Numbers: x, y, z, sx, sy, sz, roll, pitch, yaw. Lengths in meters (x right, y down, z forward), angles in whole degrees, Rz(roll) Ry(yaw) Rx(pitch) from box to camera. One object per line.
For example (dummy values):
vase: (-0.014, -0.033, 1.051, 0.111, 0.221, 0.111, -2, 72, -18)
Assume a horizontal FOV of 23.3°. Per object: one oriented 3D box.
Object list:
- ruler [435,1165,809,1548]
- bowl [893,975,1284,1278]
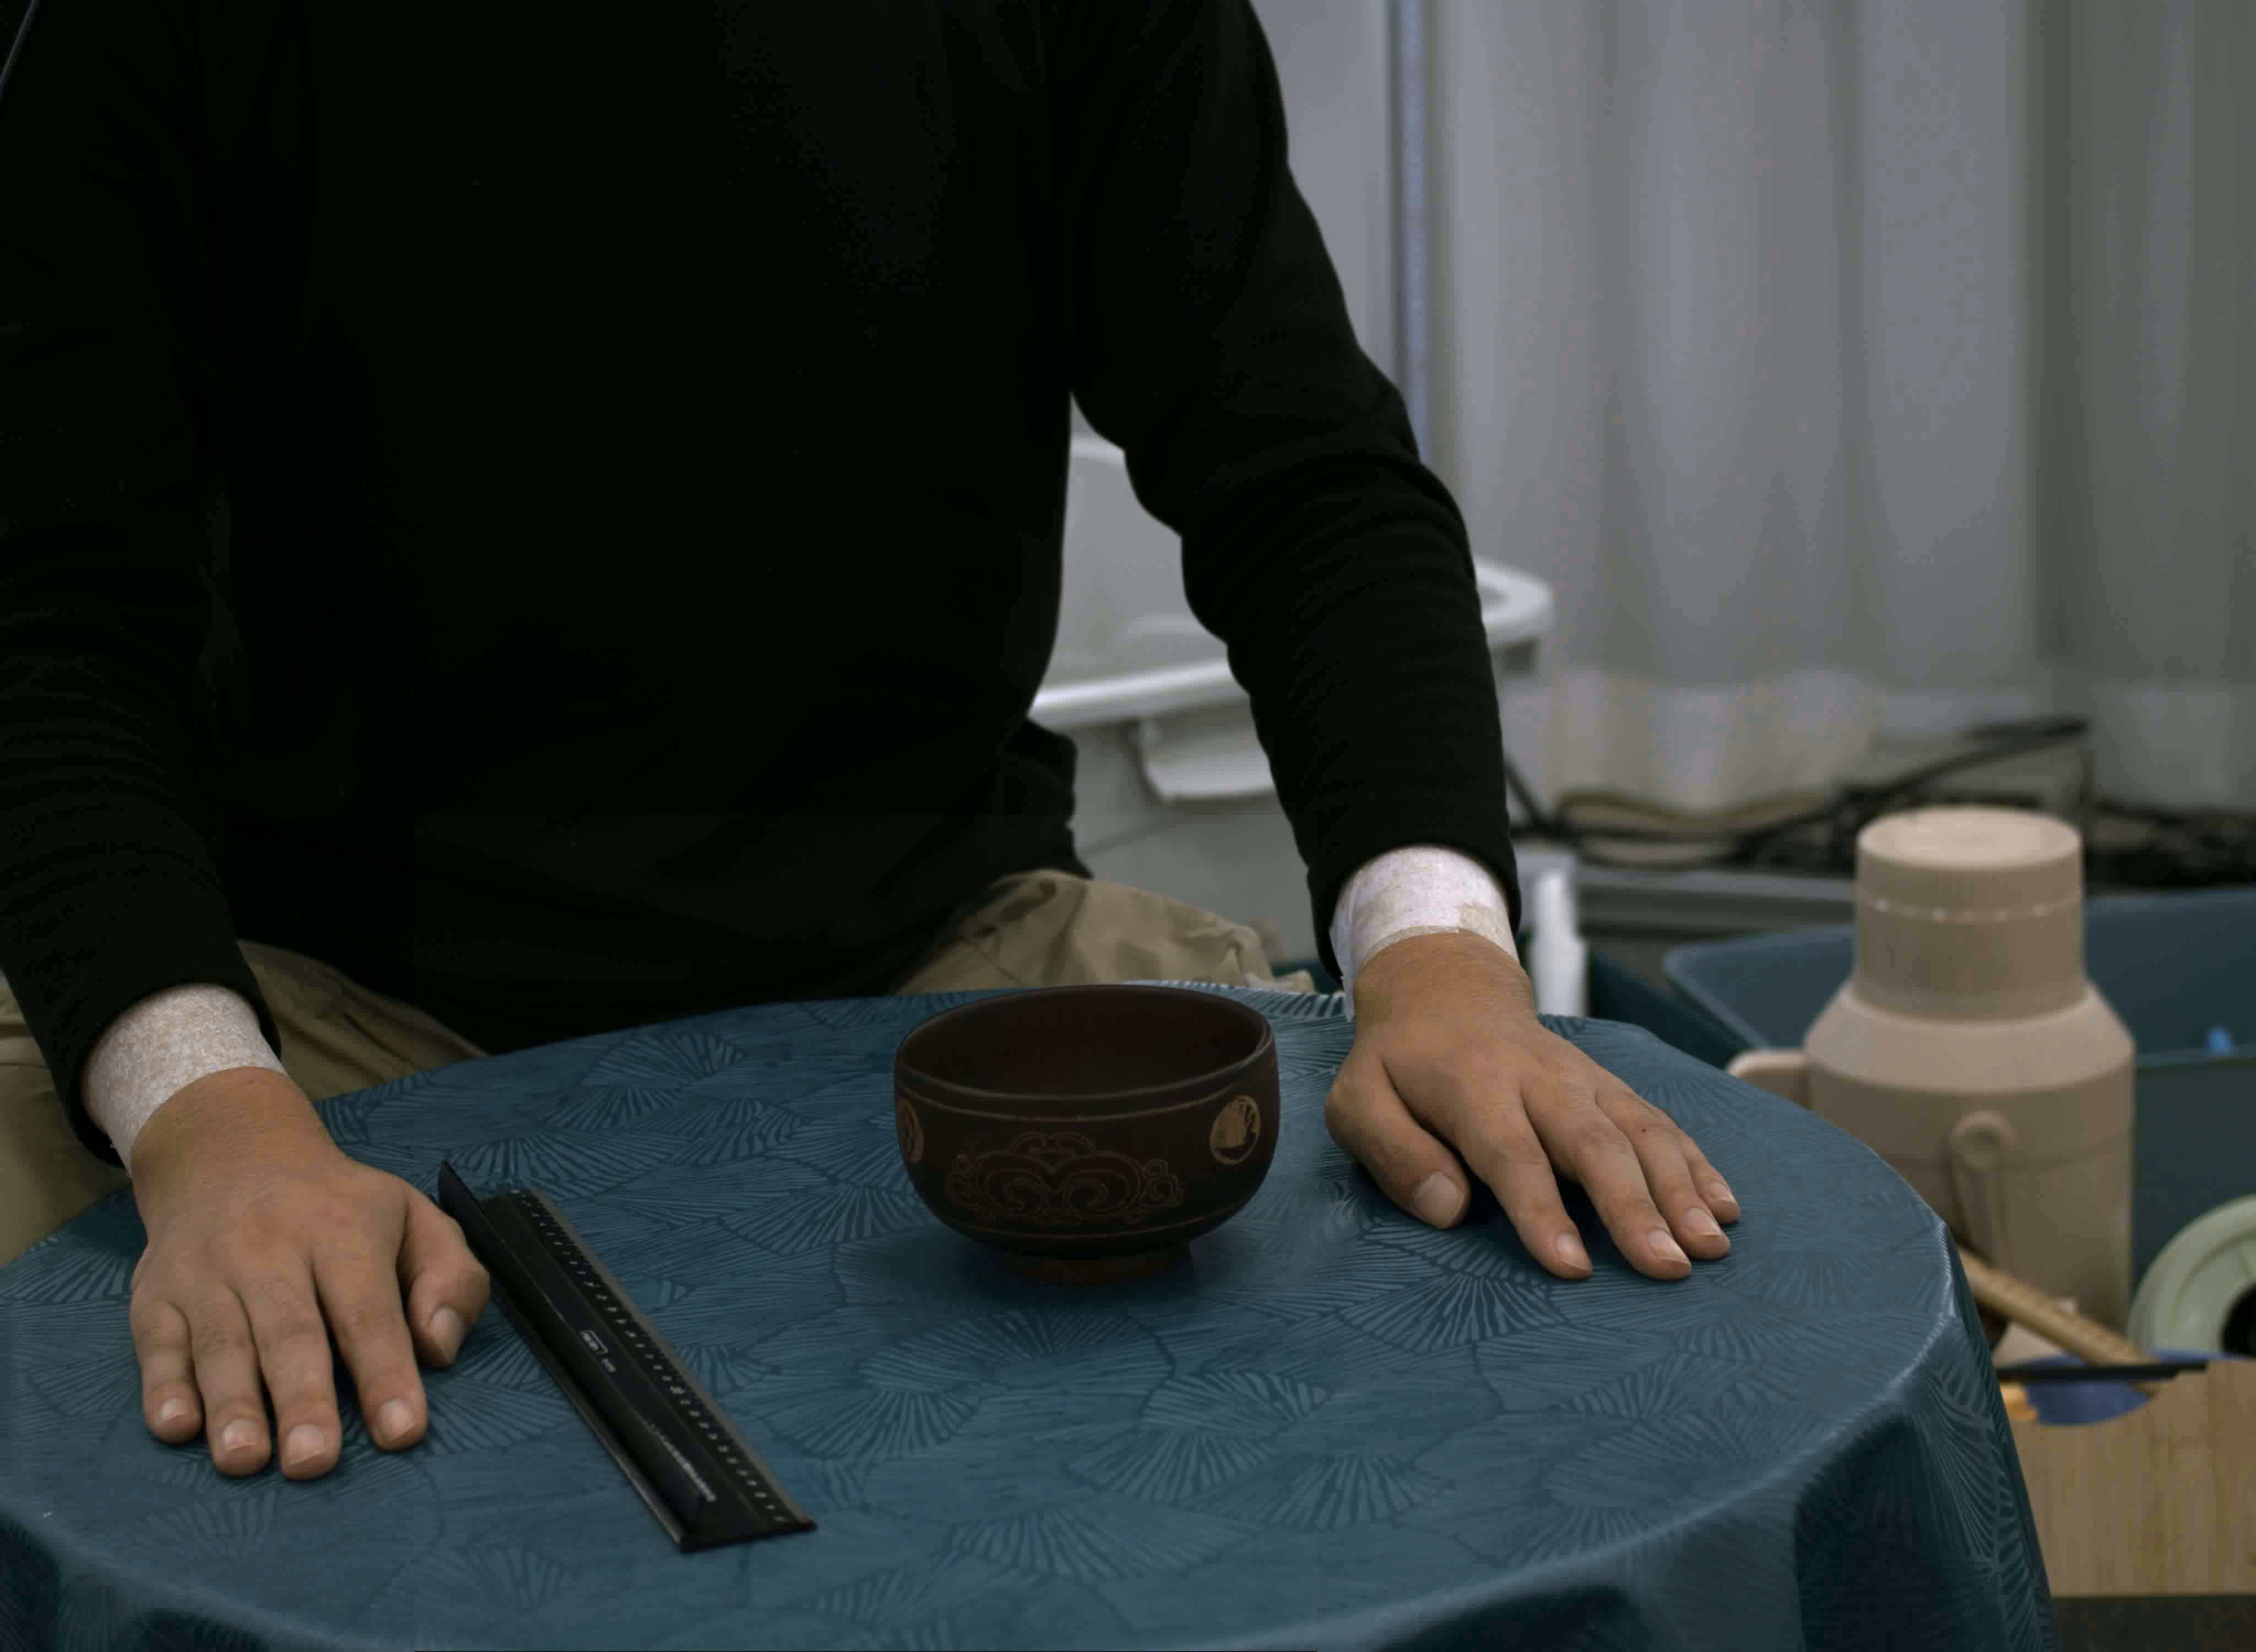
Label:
ruler: (-0.151, 0.148, 1.590, 0.039, 0.017, 0.315, -3, 14, -19)
bowl: (-0.011, 0.094, 1.650, 0.117, 0.069, 0.119, -2, 15, 0)
